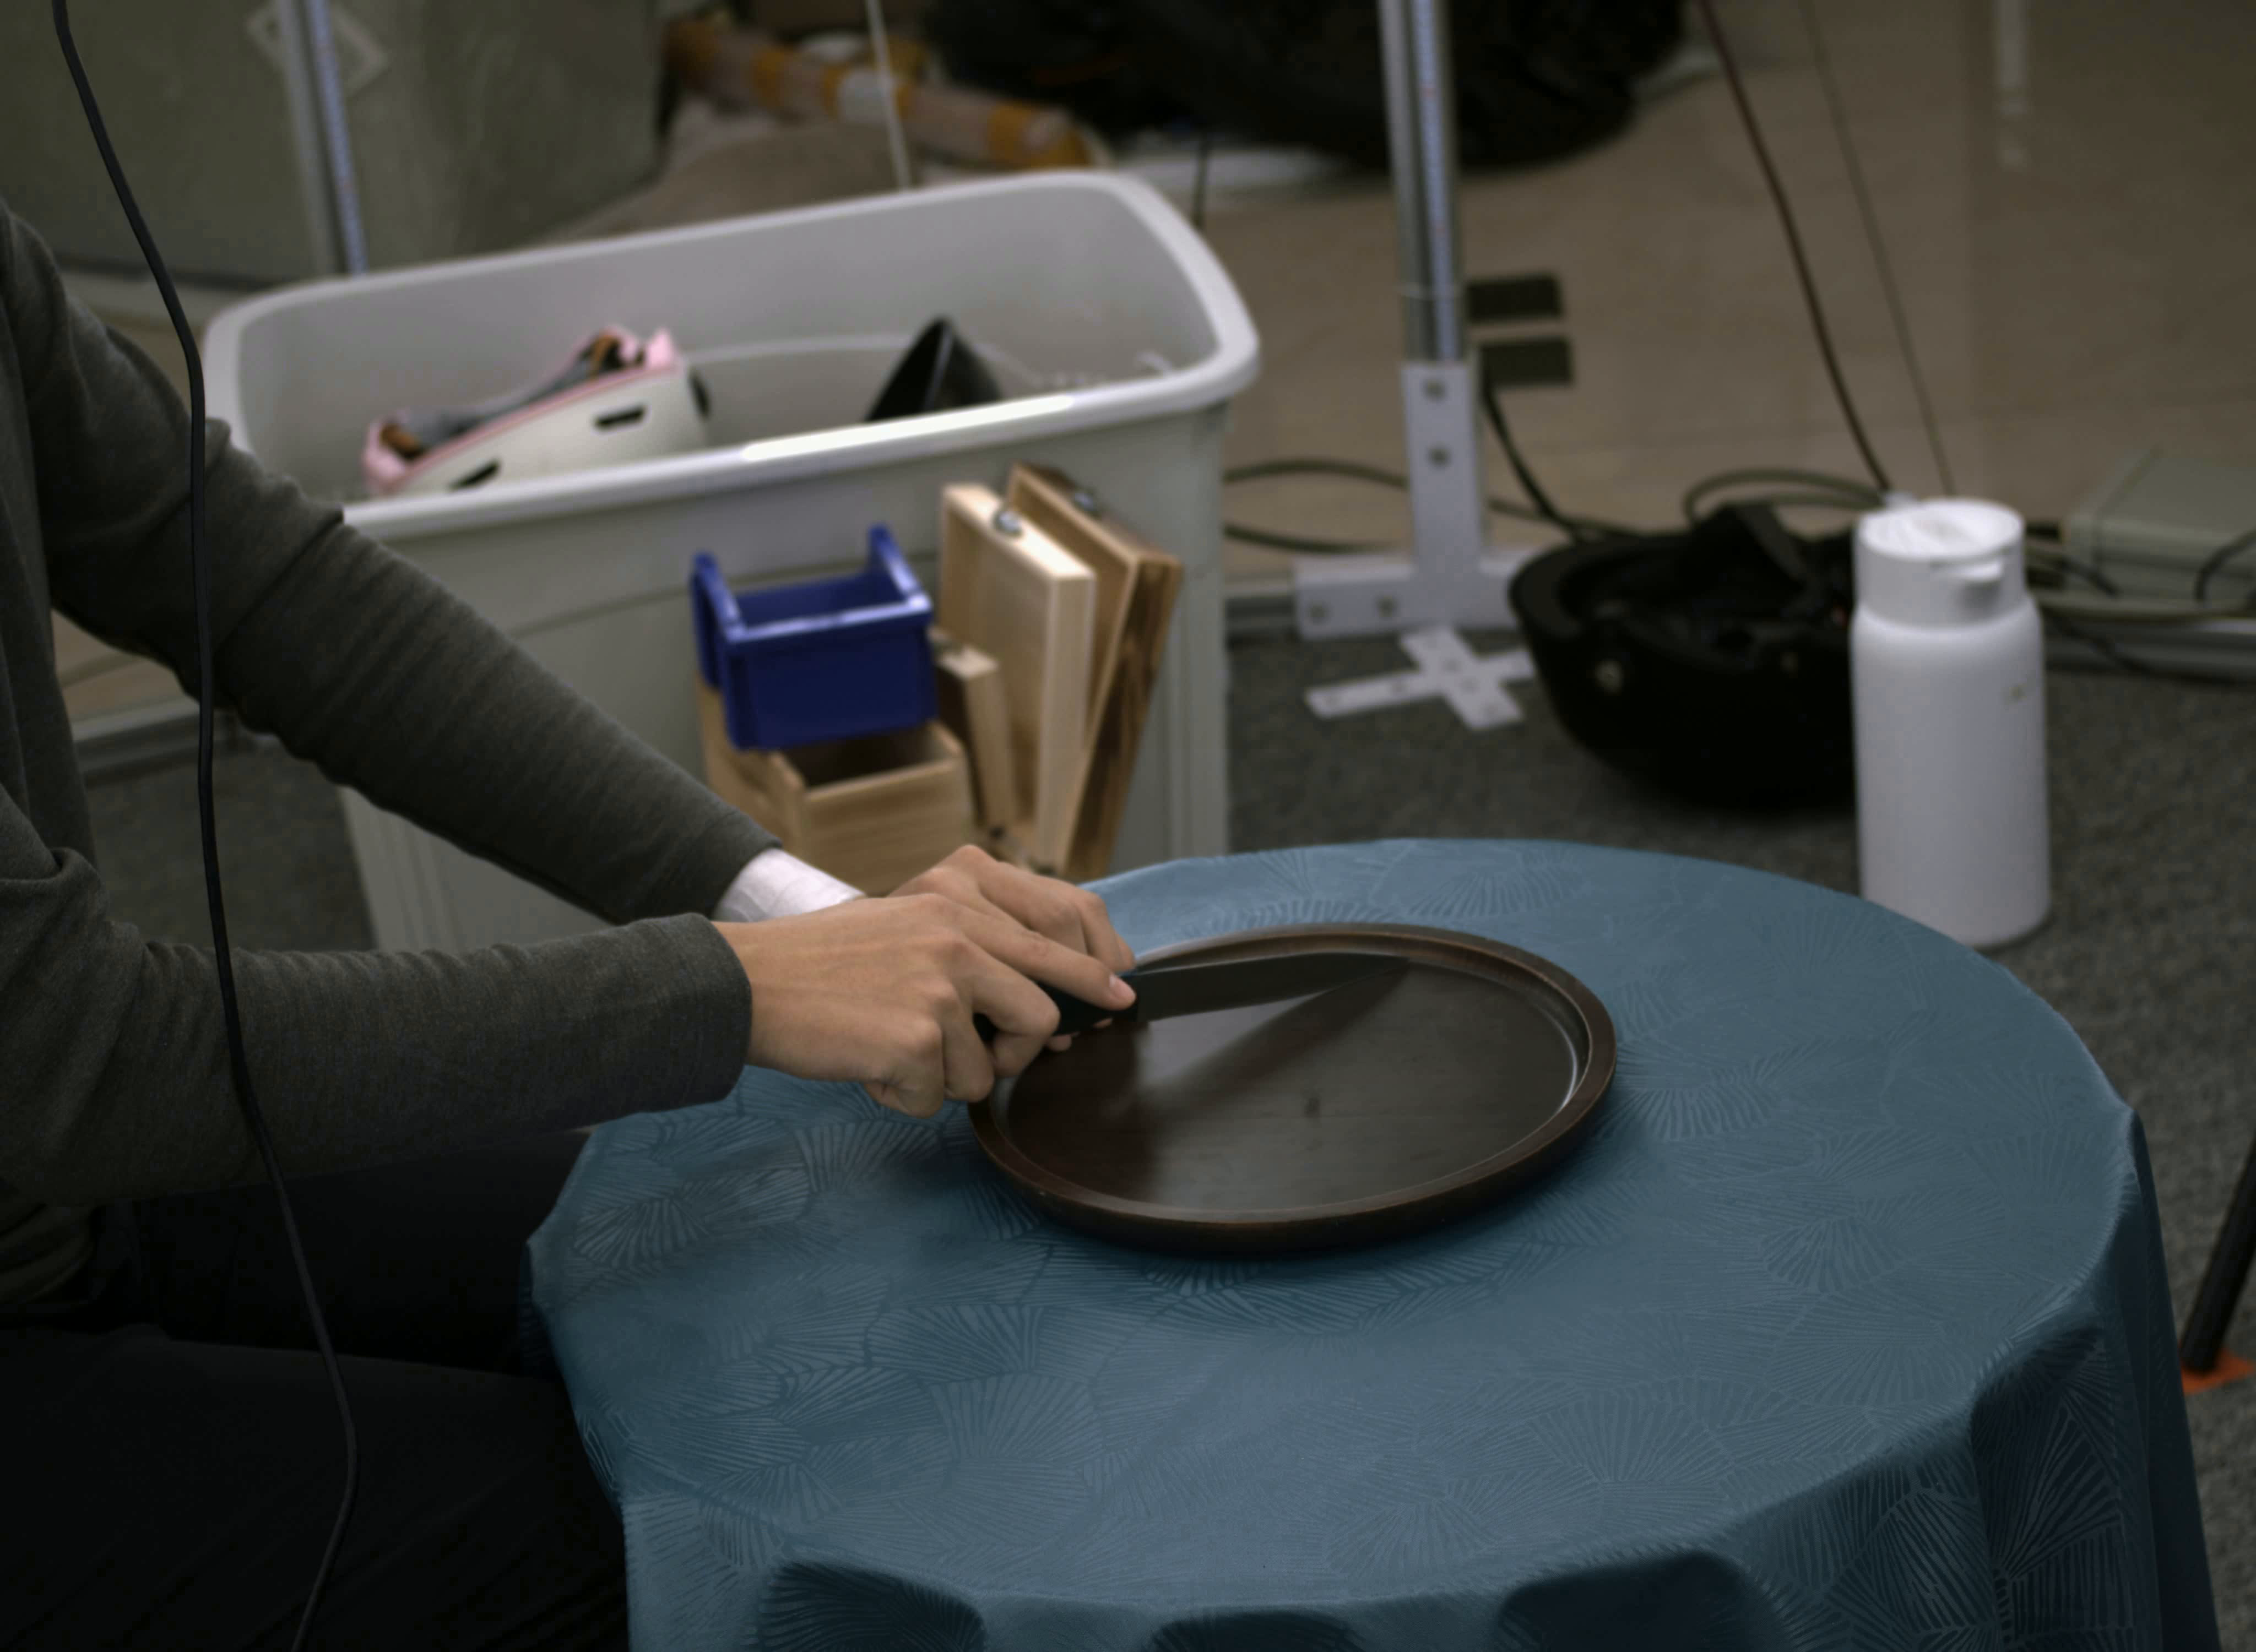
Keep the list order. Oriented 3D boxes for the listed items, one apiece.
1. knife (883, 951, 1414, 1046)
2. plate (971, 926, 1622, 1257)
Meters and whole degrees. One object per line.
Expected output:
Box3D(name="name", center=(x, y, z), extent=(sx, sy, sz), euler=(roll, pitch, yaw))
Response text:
Box3D(name="knife", center=(0.011, 0.064, 2.217), extent=(0.237, 0.025, 0.016), euler=(-6, 18, -29))
Box3D(name="plate", center=(0.065, 0.101, 2.191), extent=(0.254, 0.029, 0.251), euler=(-4, 24, 2))
